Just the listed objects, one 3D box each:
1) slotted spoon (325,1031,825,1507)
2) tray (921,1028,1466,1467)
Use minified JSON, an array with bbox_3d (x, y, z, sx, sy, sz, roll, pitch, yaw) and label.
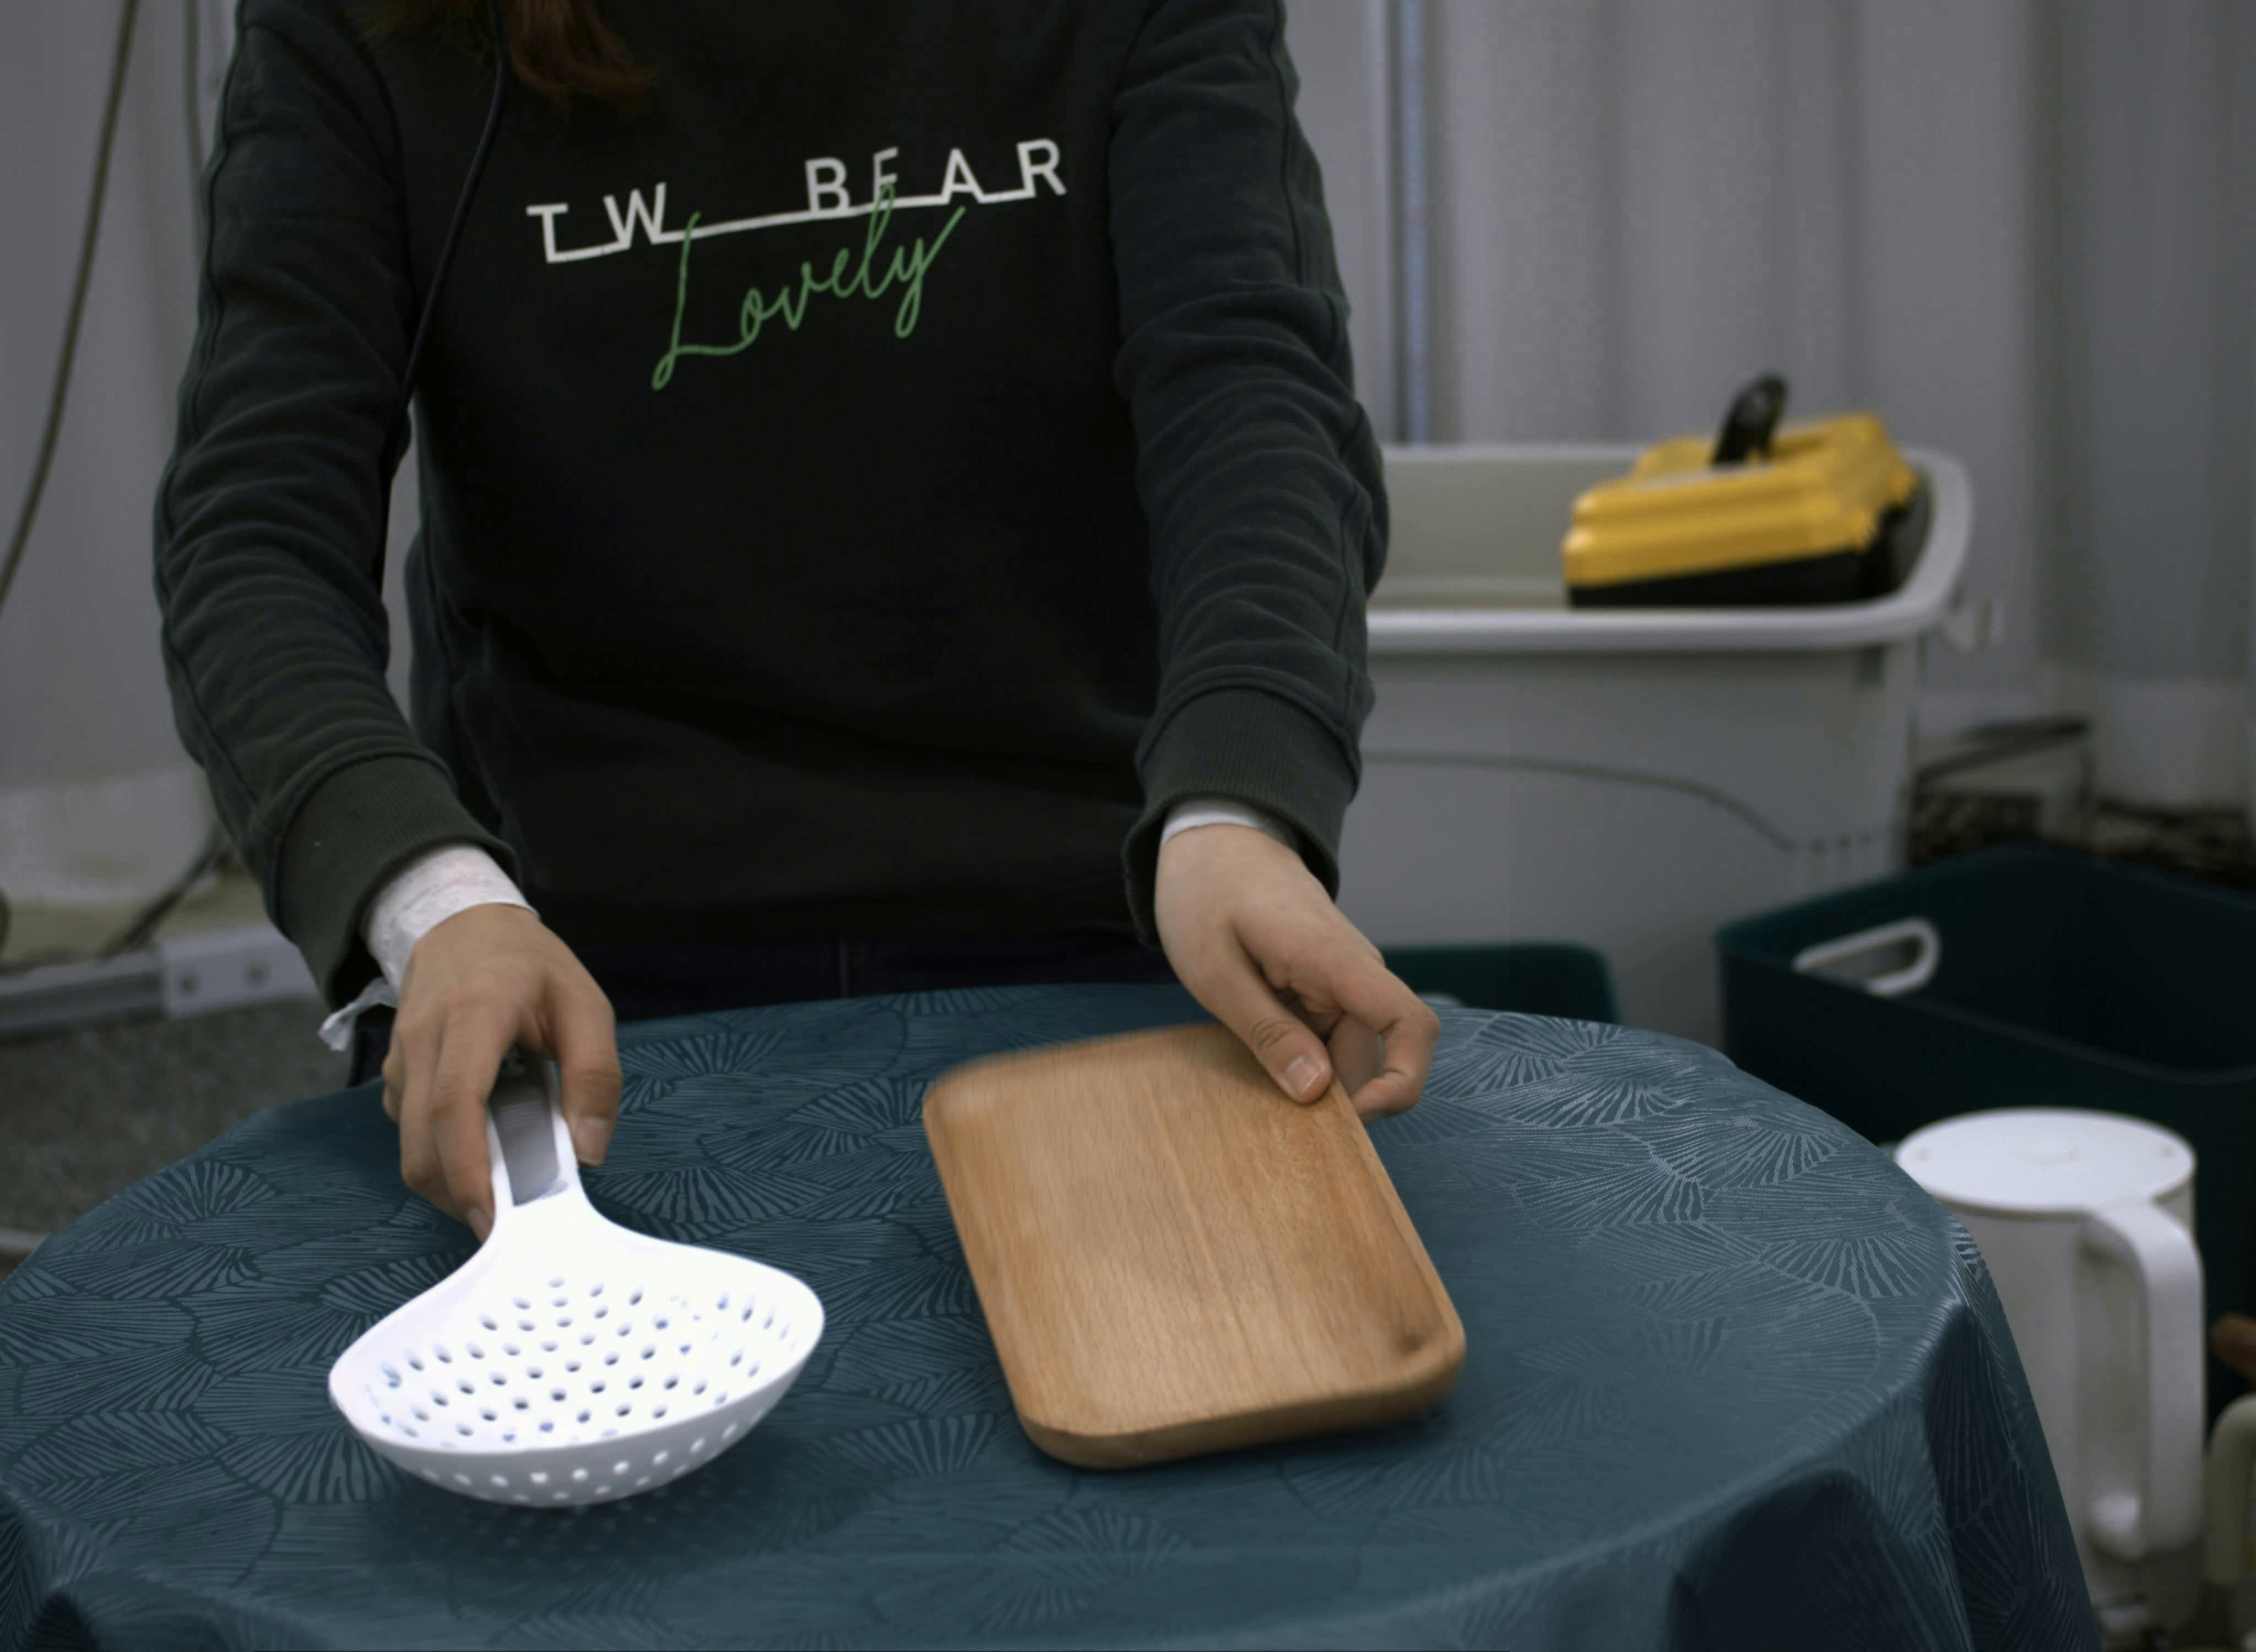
[{"bbox_3d":[-0.168,0.120,1.590,0.135,0.045,0.353,-7,21,-8],"label":"slotted spoon"},{"bbox_3d":[0.015,0.120,1.599,0.130,0.023,0.253,-11,19,-6],"label":"tray"}]
